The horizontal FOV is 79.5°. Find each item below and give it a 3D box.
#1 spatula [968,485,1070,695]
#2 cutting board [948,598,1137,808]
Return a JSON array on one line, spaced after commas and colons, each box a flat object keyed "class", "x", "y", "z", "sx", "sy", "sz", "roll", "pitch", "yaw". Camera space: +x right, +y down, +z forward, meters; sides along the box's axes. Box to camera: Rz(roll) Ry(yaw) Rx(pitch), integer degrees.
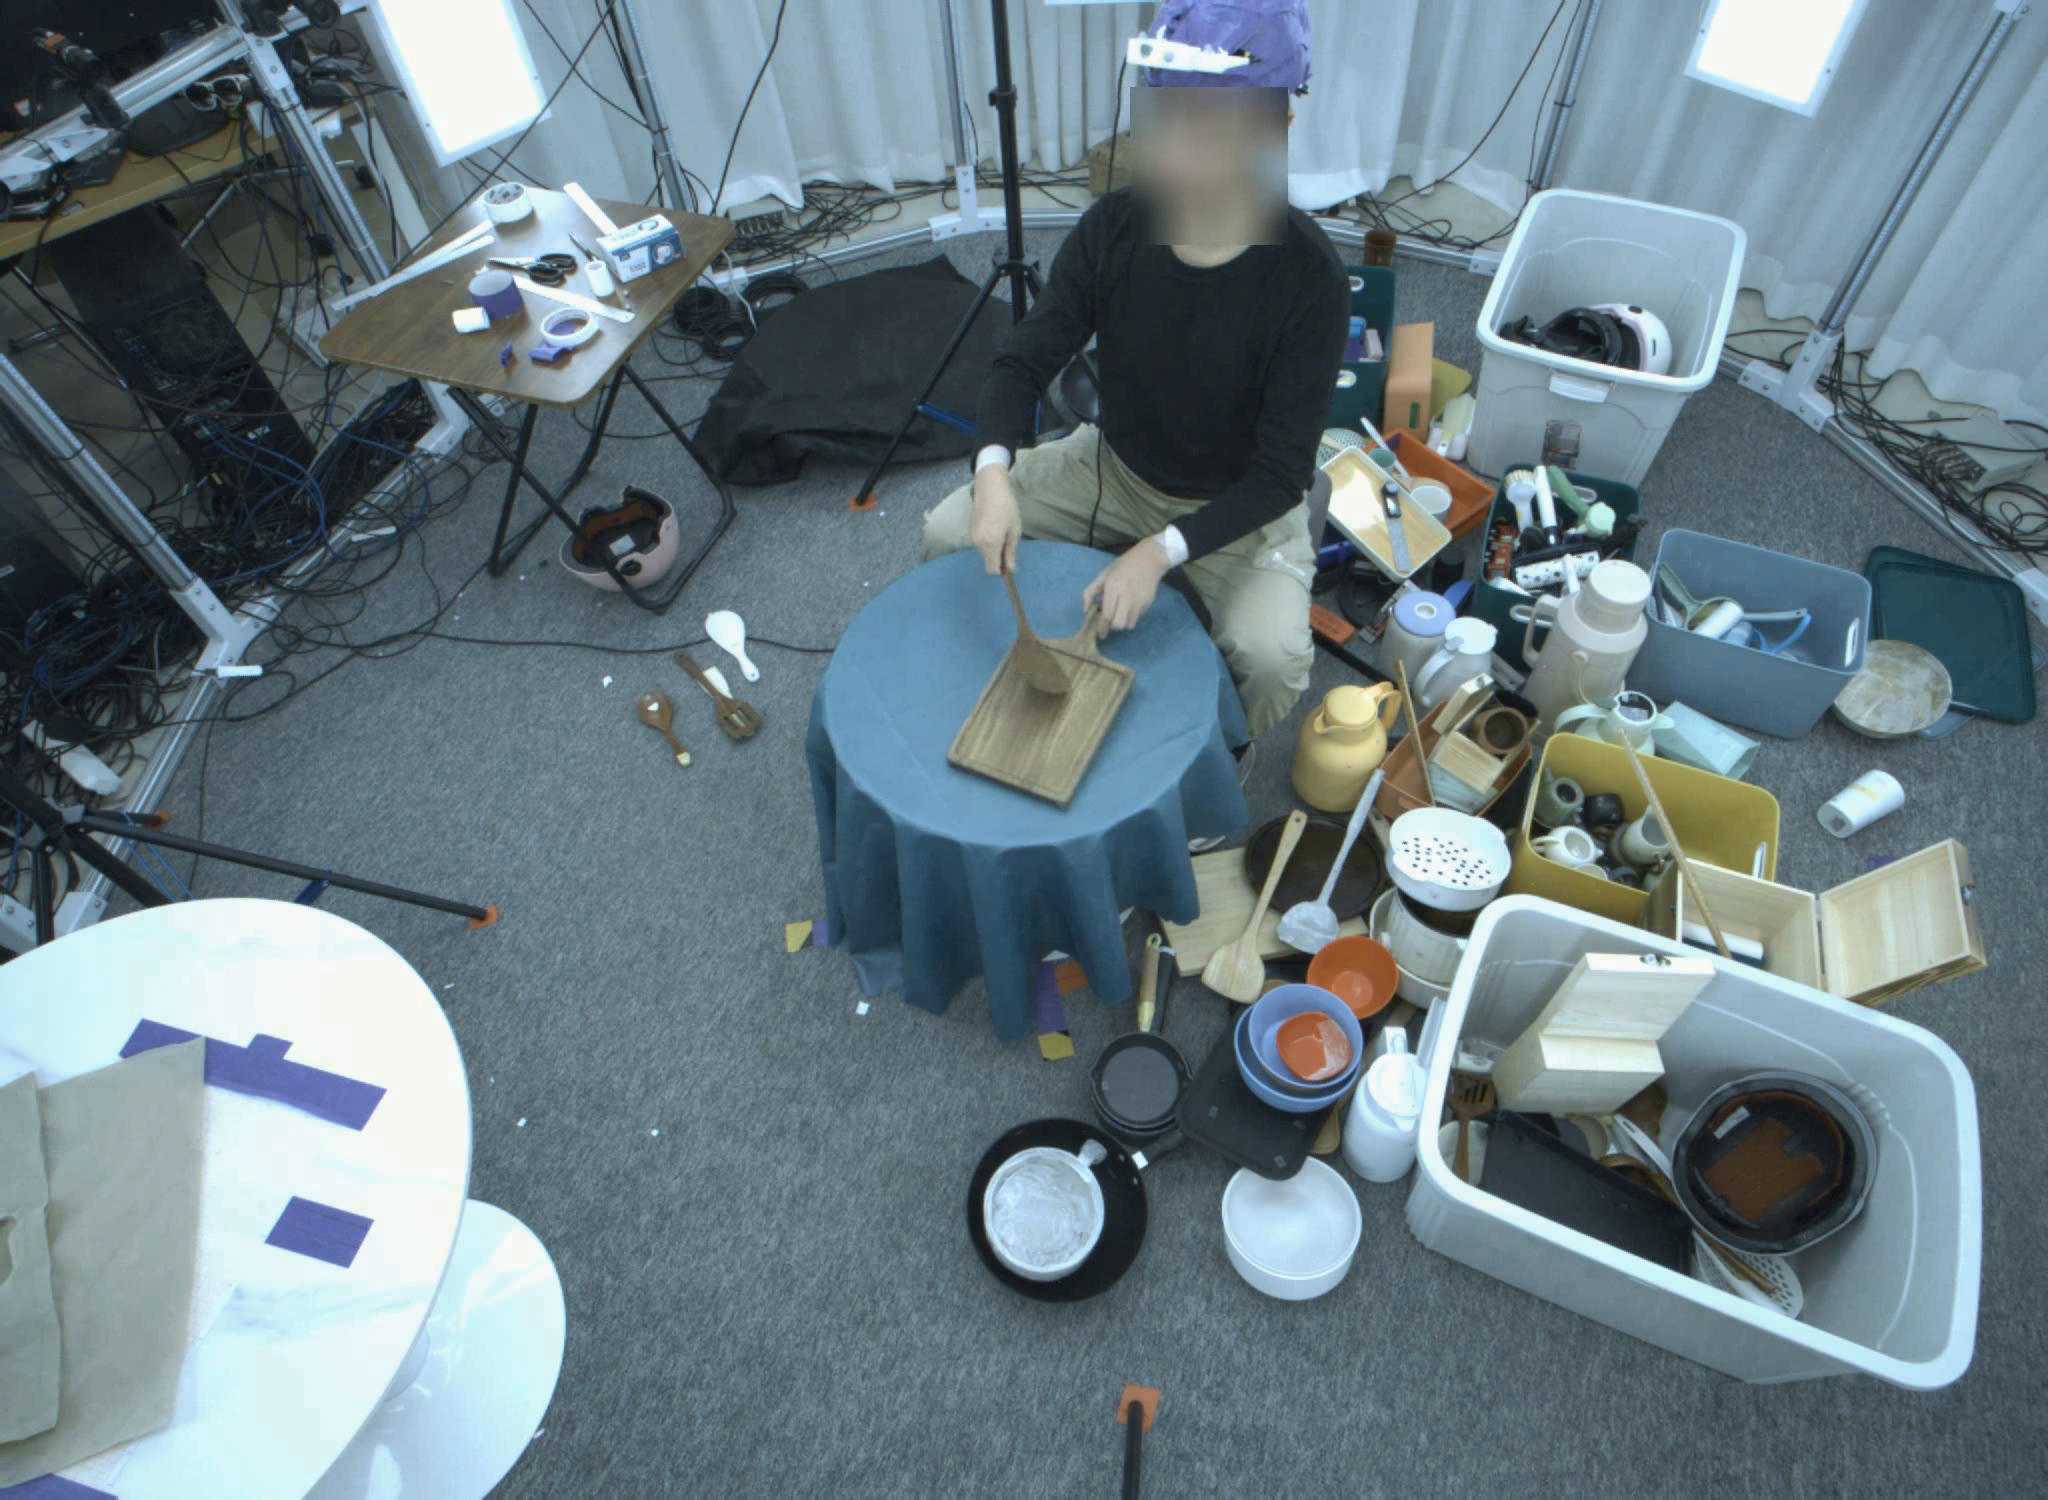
[{"class": "spatula", "x": -0.022, "y": -0.247, "z": 1.830, "sx": 0.098, "sy": 0.015, "sz": 0.381, "roll": 4, "pitch": 59, "yaw": -47}, {"class": "cutting board", "x": 0.050, "y": -0.088, "z": 1.818, "sx": 0.198, "sy": 0.023, "sz": 0.352, "roll": 21, "pitch": 63, "yaw": 15}]
